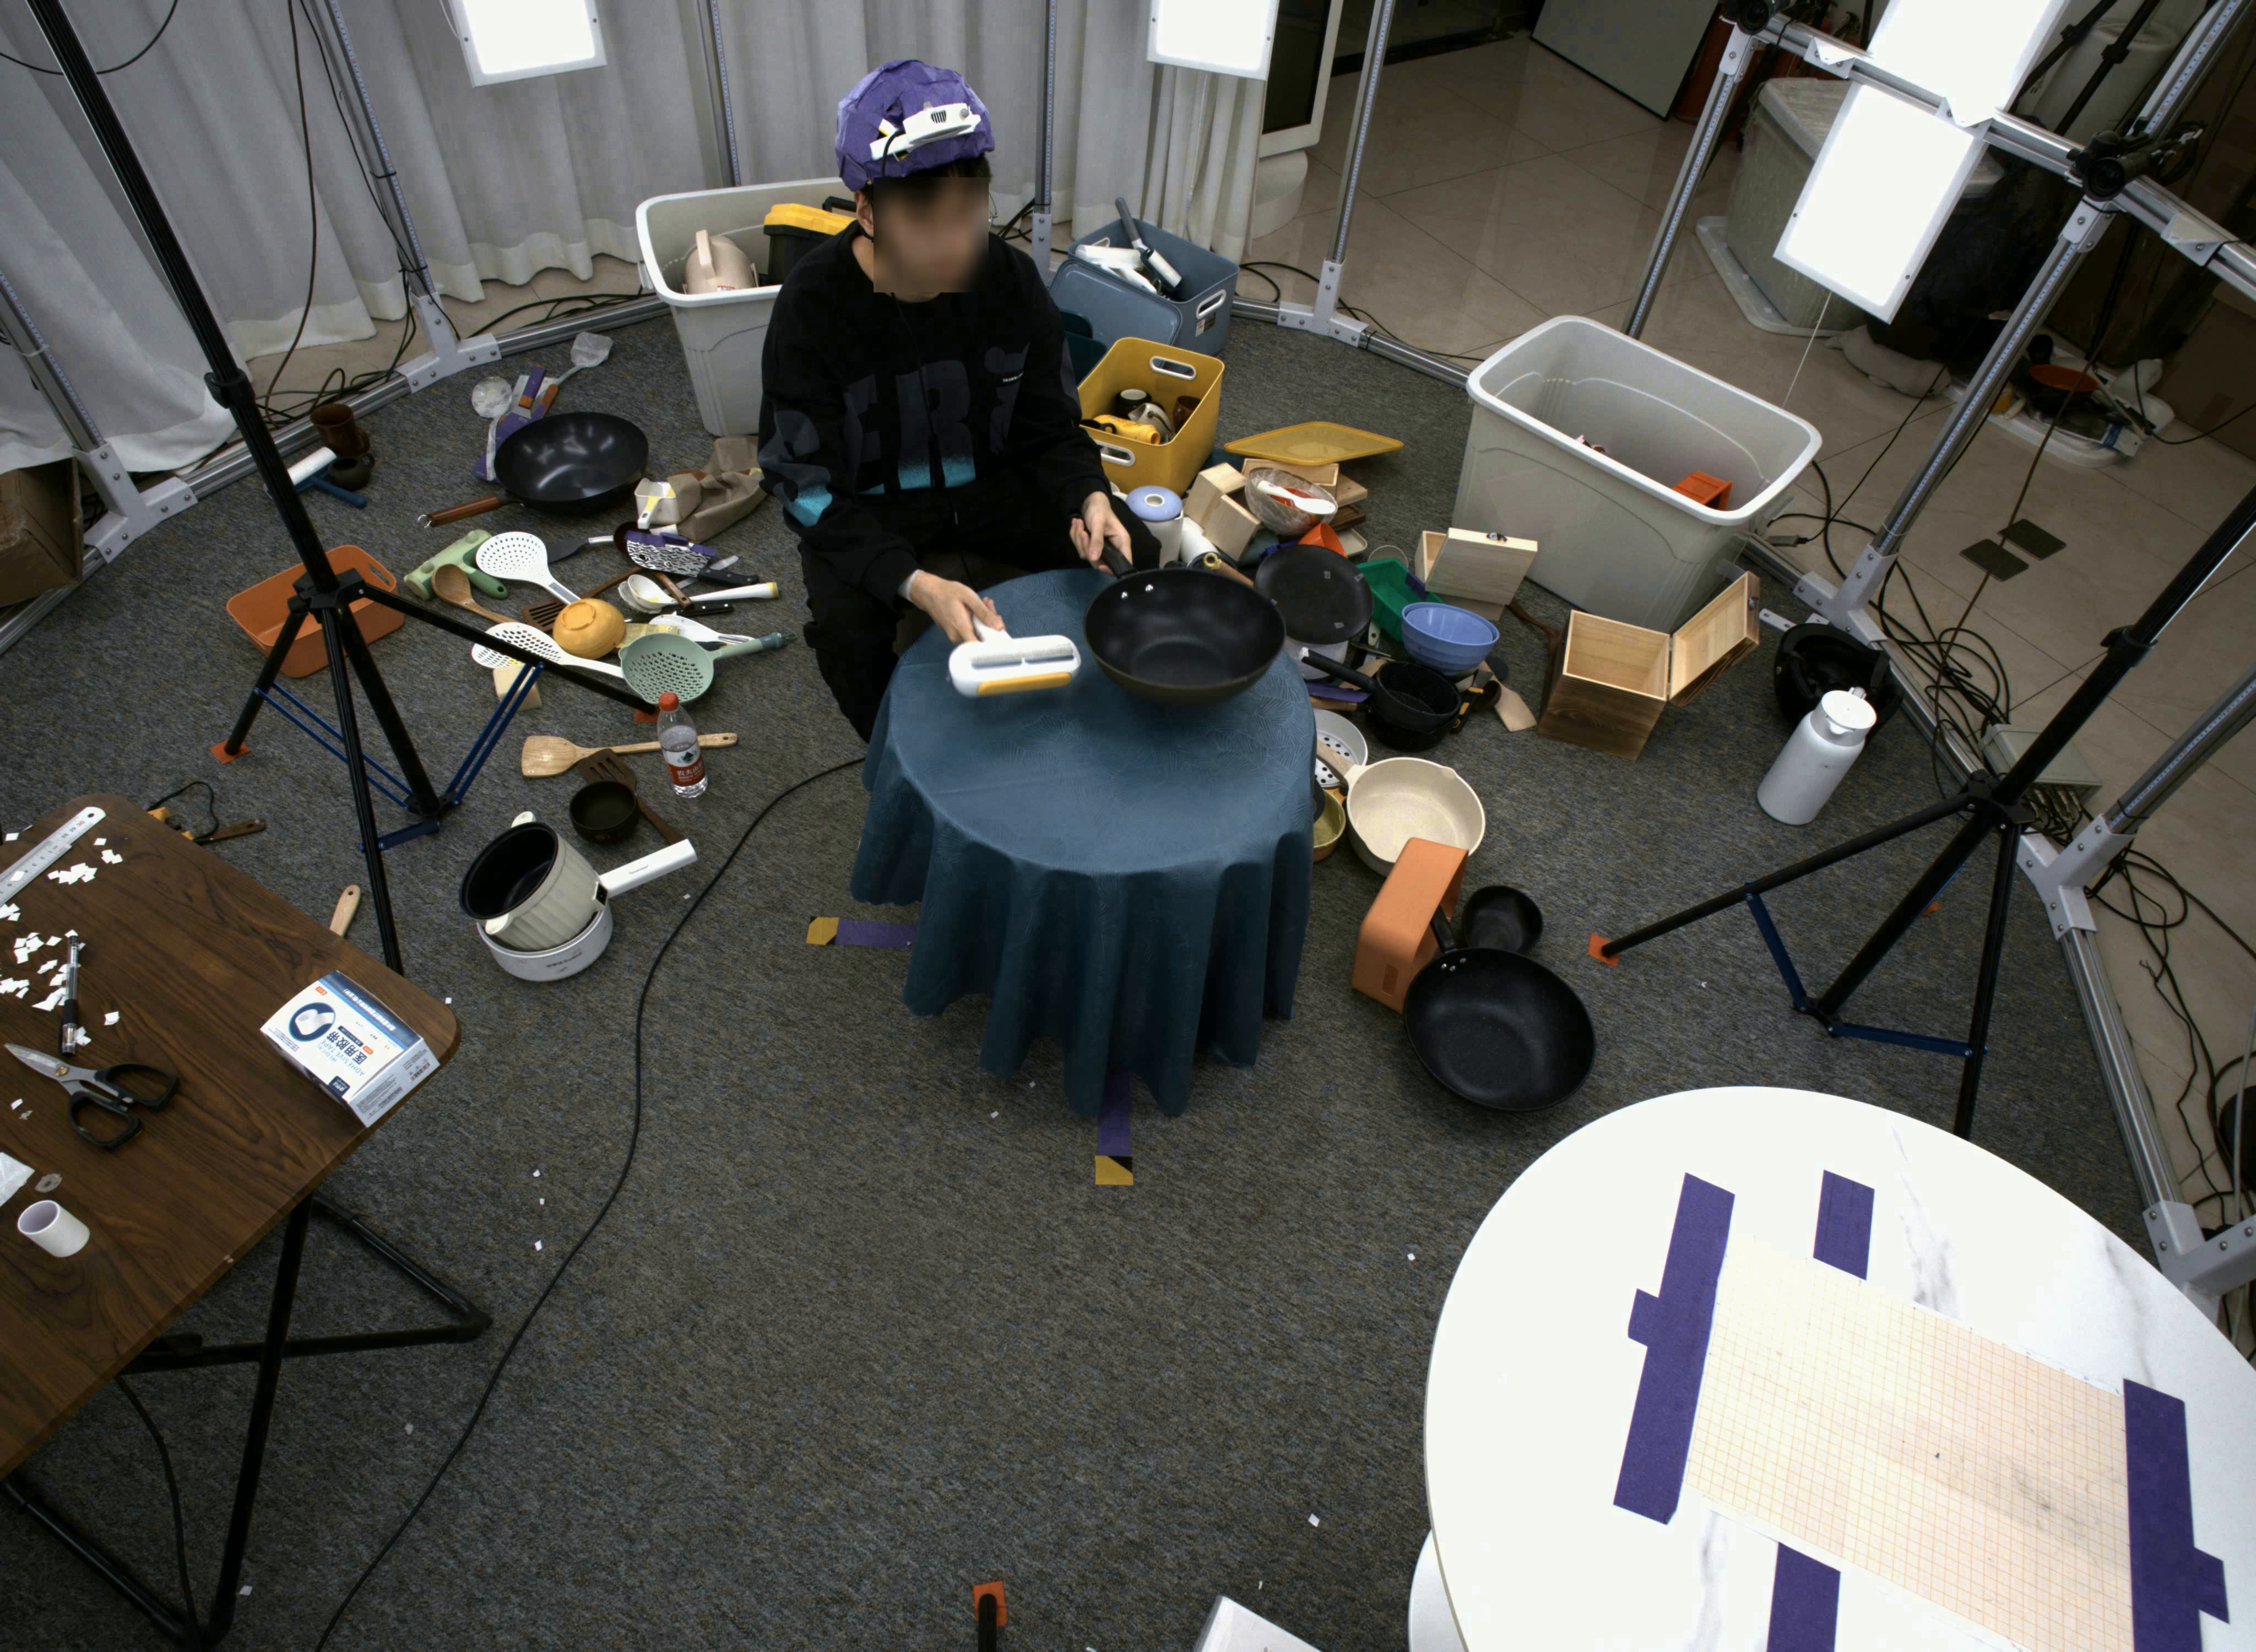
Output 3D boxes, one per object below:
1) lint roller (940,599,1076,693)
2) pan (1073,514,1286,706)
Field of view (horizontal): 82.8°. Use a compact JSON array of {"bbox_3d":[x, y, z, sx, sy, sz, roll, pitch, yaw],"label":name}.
[{"bbox_3d":[-0.185,-0.260,1.776,0.192,0.072,0.197,-8,52,-29],"label":"lint roller"},{"bbox_3d":[0.030,-0.309,1.854,0.289,0.085,0.473,-20,47,-22],"label":"pan"}]
